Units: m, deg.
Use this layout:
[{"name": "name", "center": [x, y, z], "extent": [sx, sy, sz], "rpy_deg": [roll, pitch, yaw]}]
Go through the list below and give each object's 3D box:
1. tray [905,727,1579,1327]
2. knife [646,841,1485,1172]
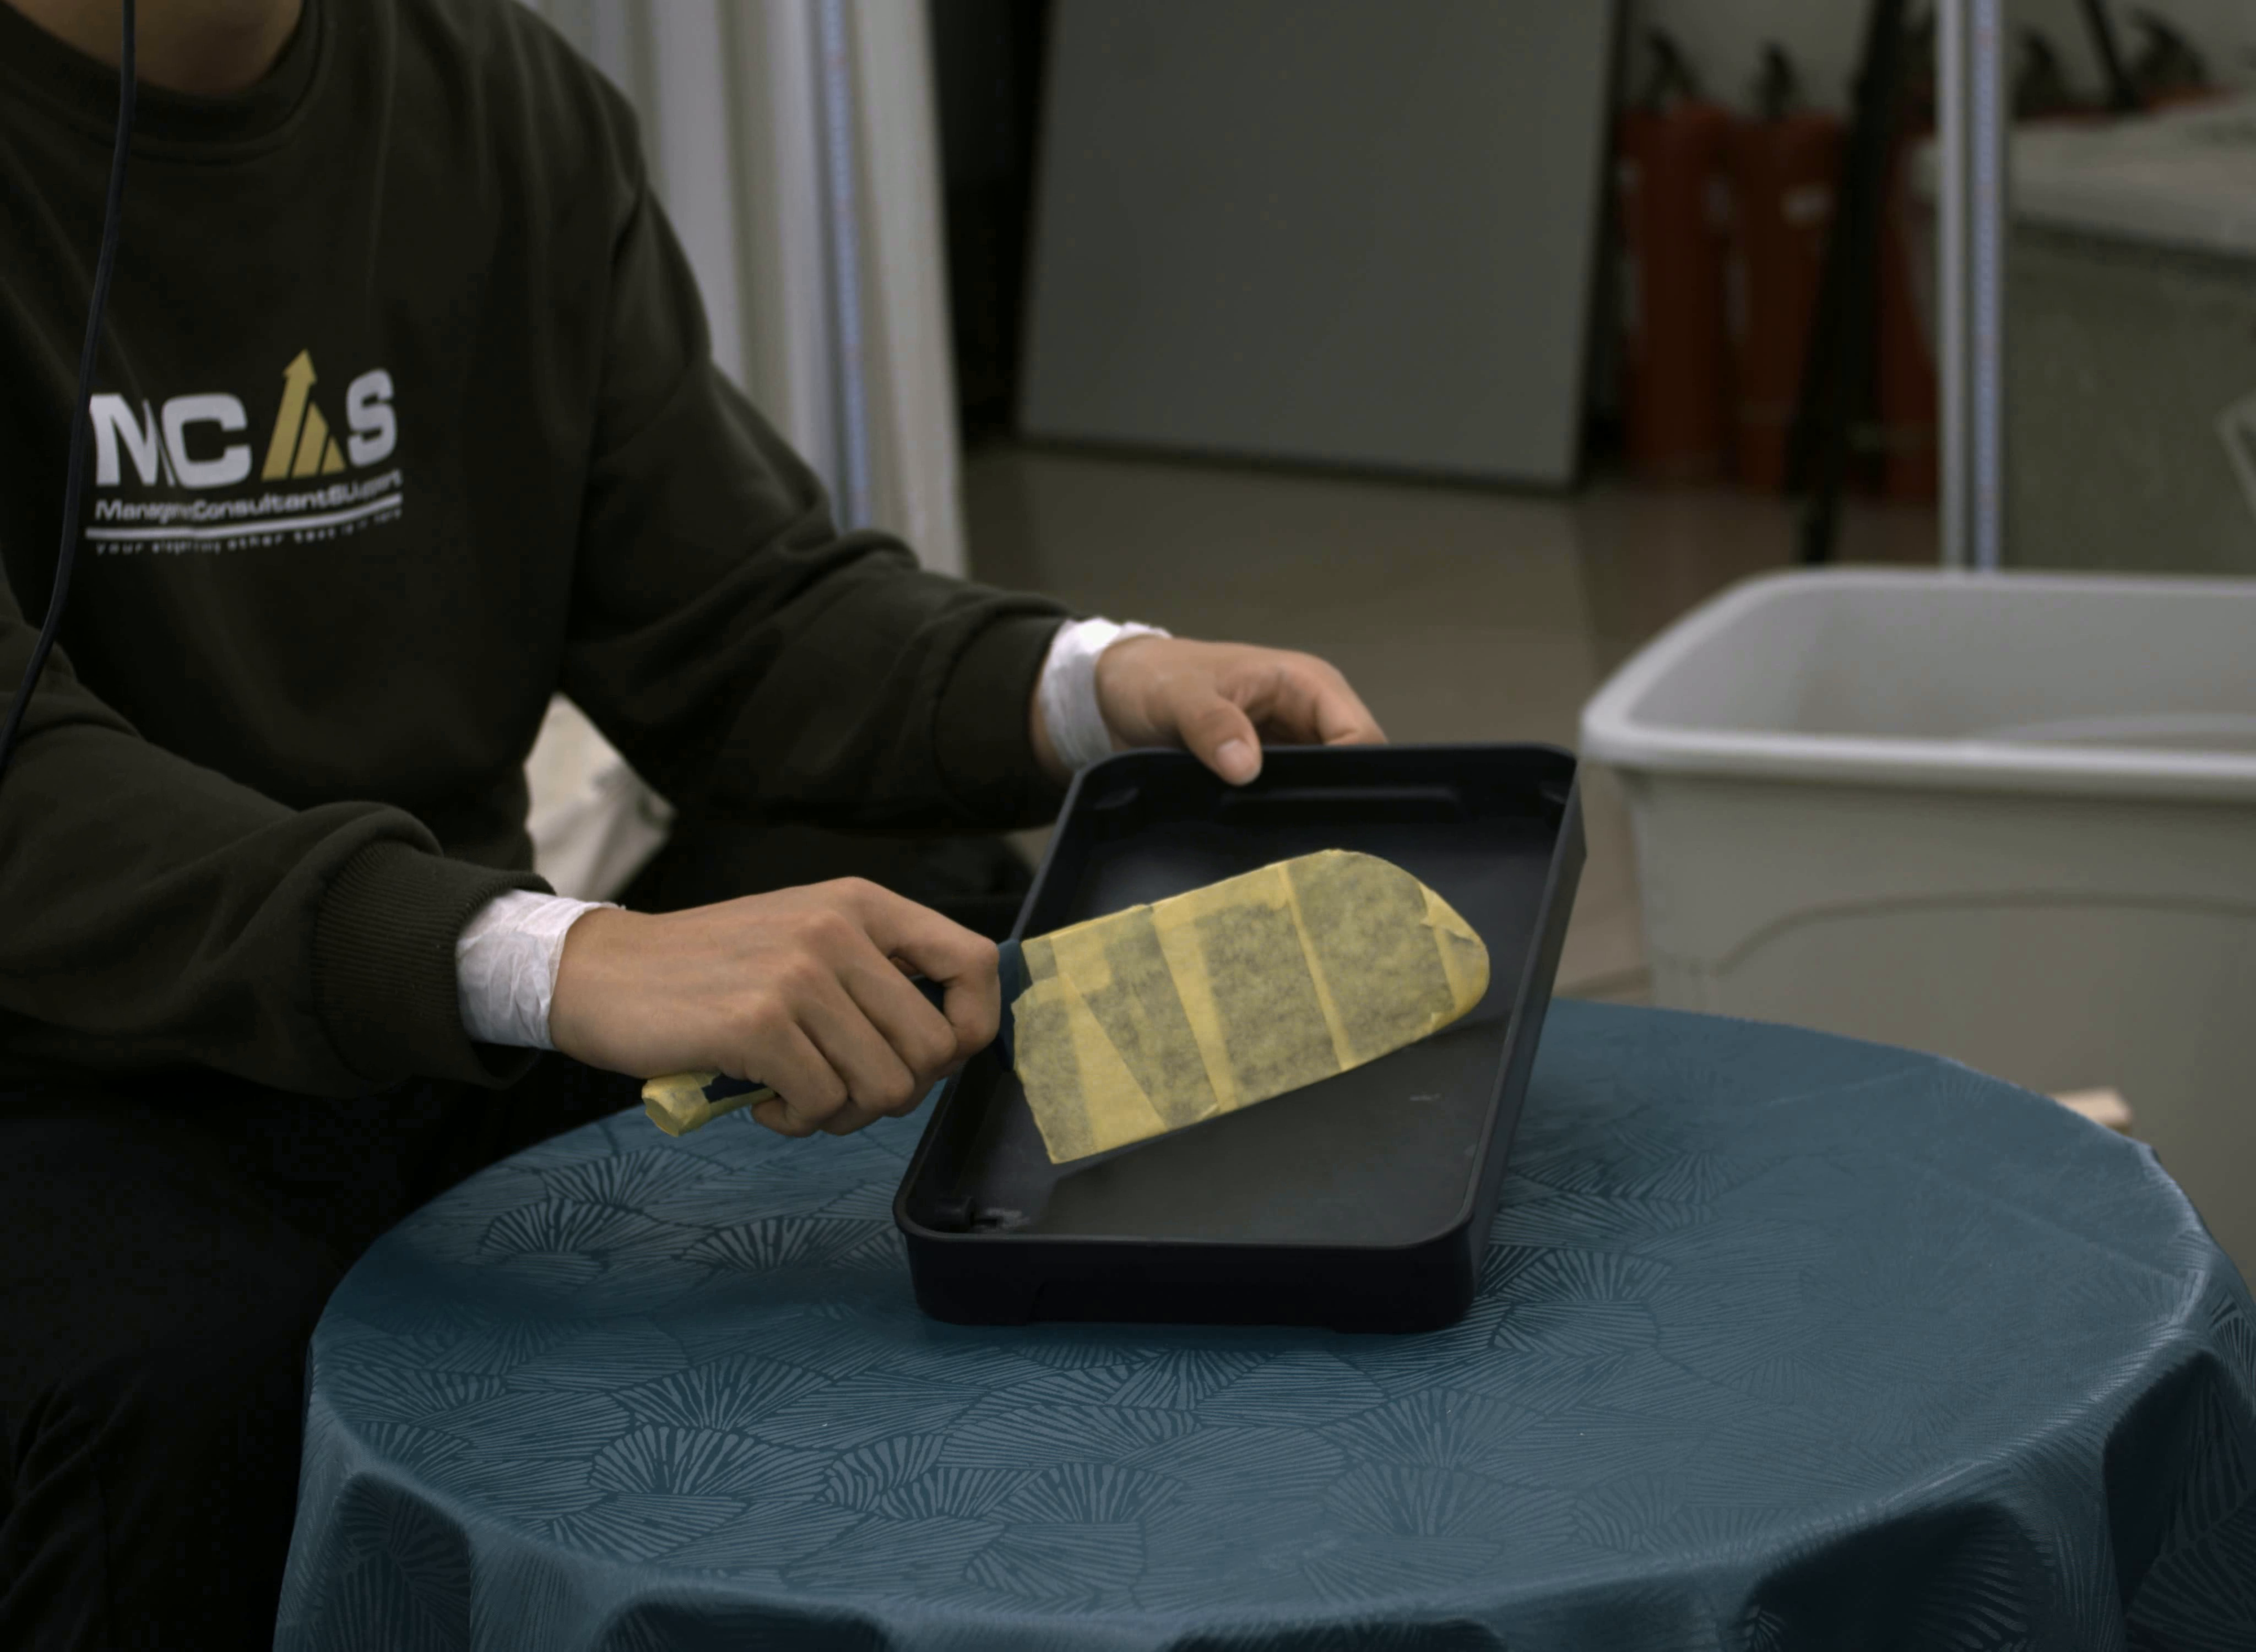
[{"name": "tray", "center": [0.046, 0.060, 1.765], "extent": [0.183, 0.037, 0.317], "rpy_deg": [-3, 29, 13]}, {"name": "knife", "center": [-0.015, 0.067, 1.728], "extent": [0.284, 0.082, 0.027], "rpy_deg": [-14, -8, -16]}]
